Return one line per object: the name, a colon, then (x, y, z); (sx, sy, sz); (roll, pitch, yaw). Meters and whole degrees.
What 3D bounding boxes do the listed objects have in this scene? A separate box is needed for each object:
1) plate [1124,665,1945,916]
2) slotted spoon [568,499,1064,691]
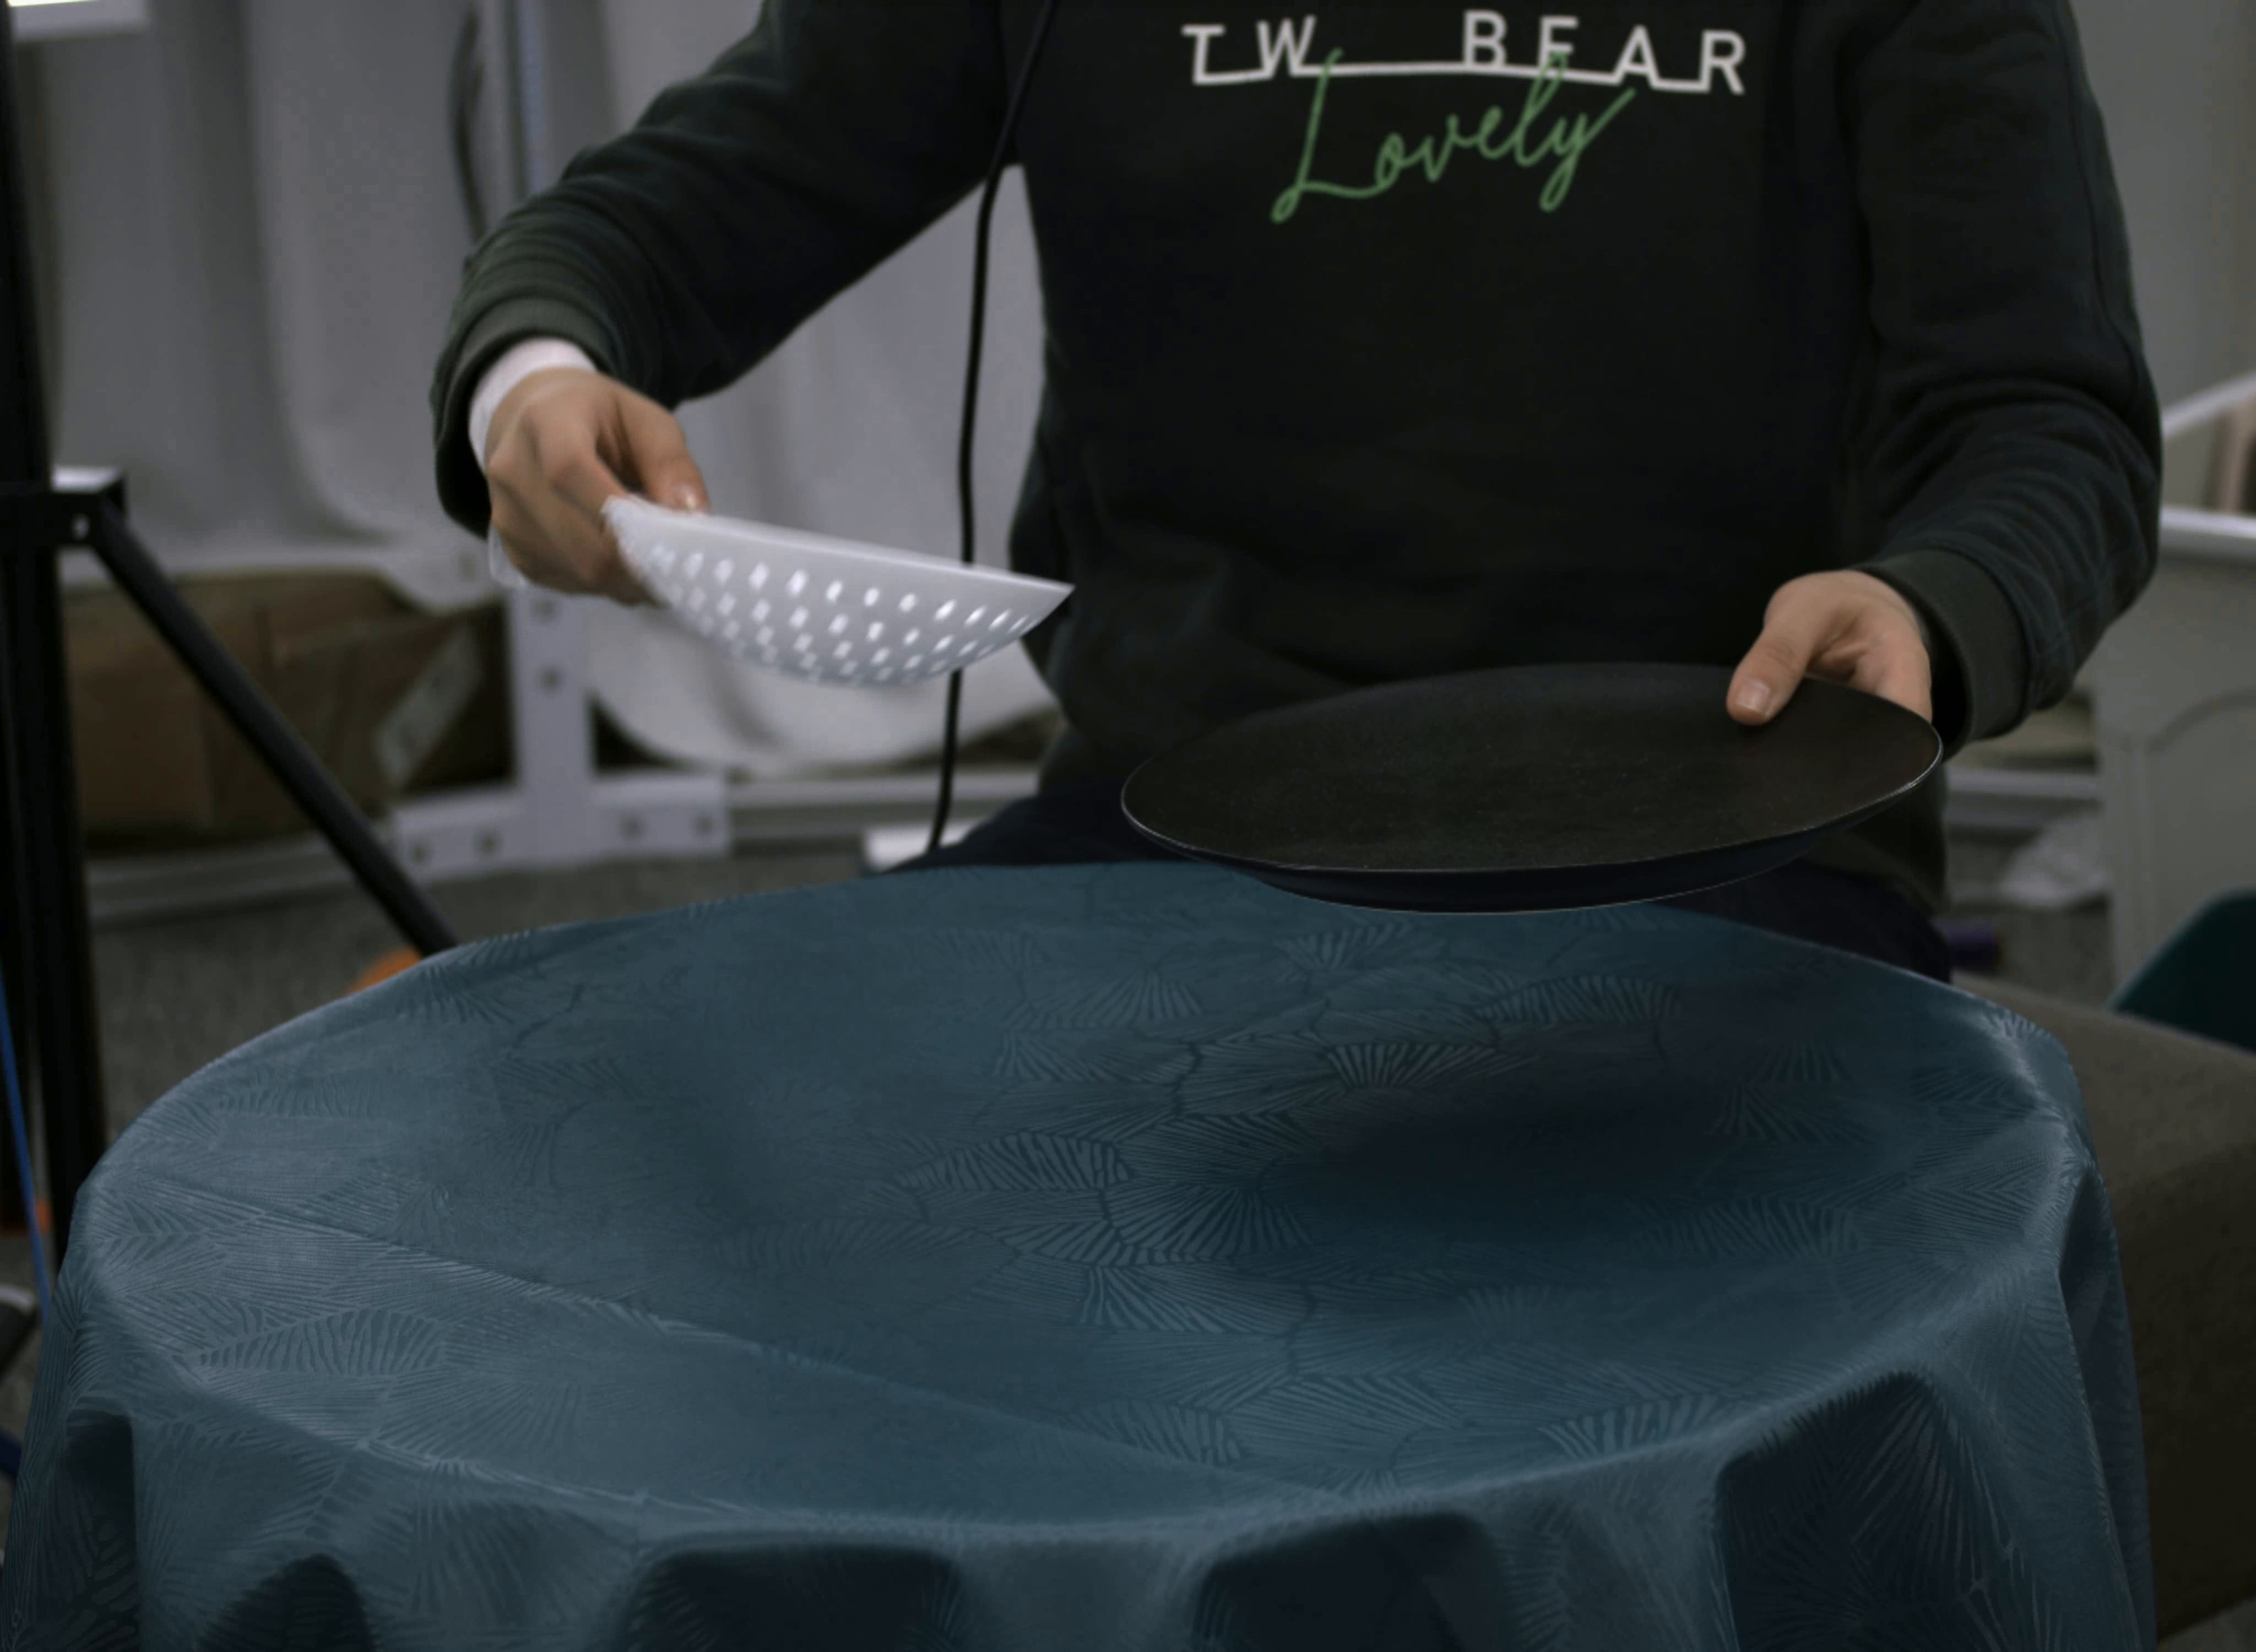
plate: (0.120, -0.009, 1.576); (0.243, 0.023, 0.245); (-5, 15, 0)
slotted spoon: (-0.121, -0.083, 1.628); (0.133, 0.046, 0.355); (9, 7, -19)
